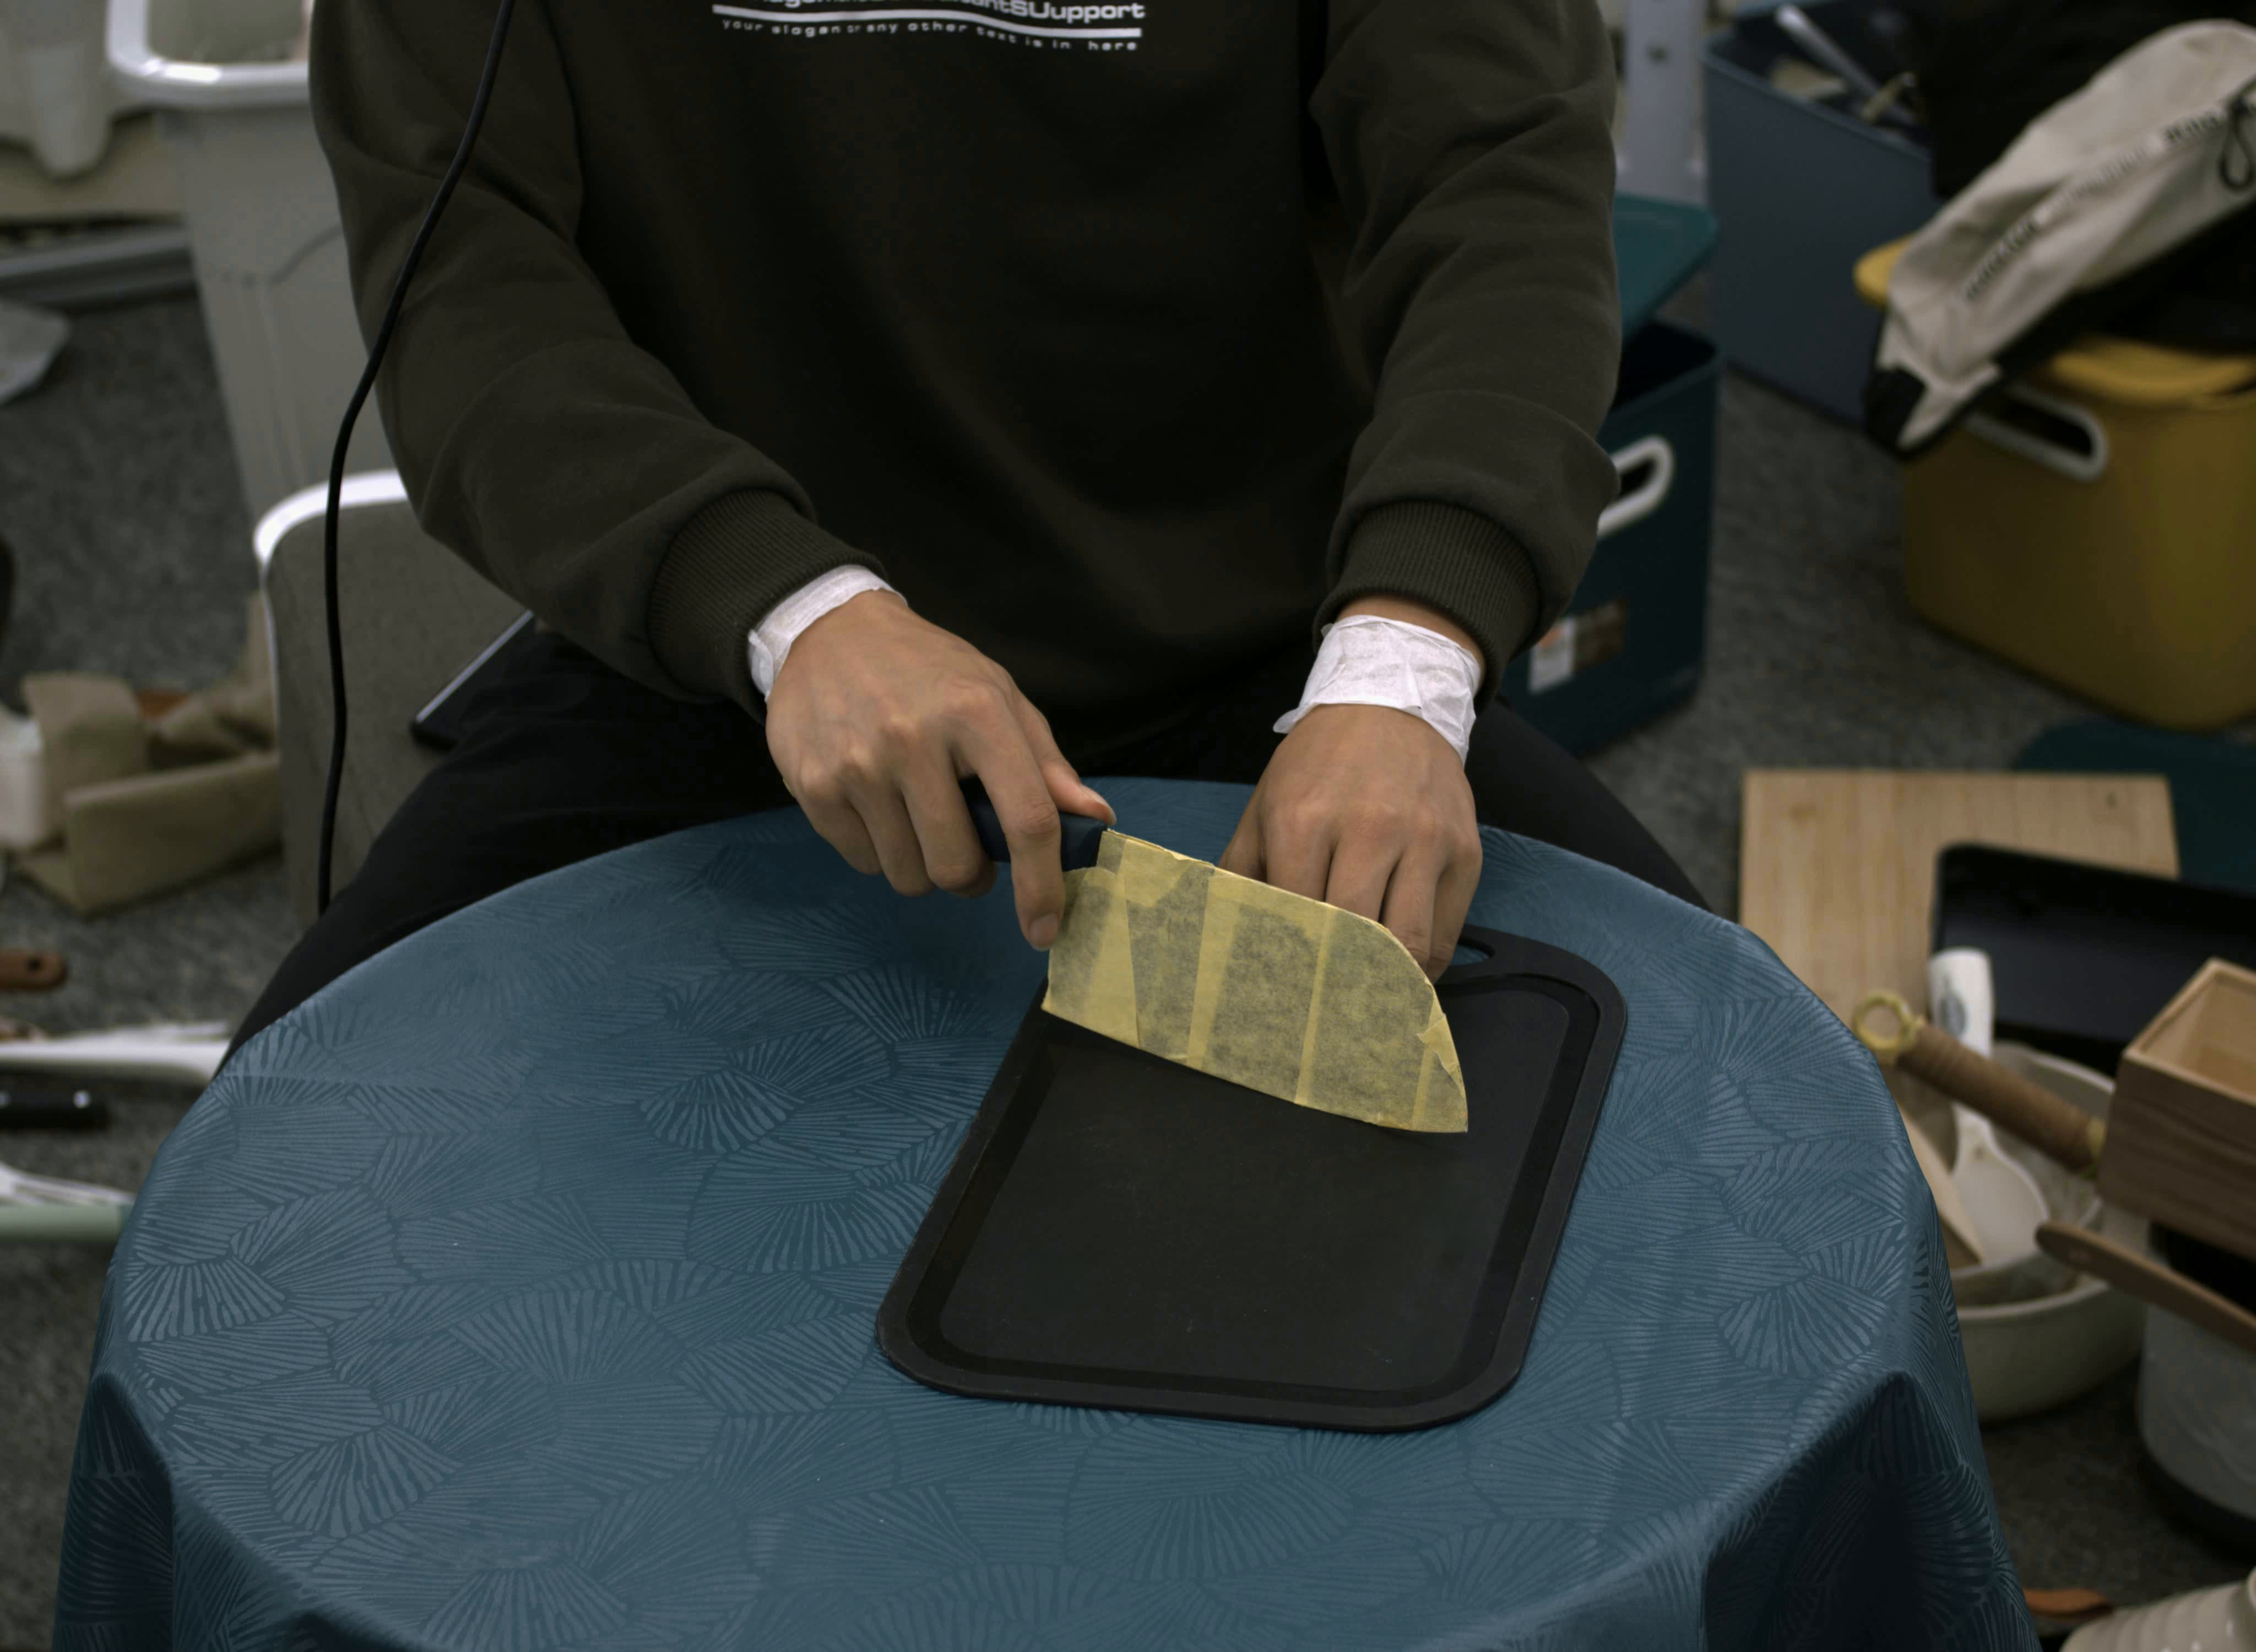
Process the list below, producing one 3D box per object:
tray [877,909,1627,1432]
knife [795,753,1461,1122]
[{"bbox_3d":[0.048,0.105,1.880,0.209,0.009,0.331,4,28,13],"label":"tray"},{"bbox_3d":[-0.003,0.036,1.938,0.289,0.080,0.027,22,17,32],"label":"knife"}]
